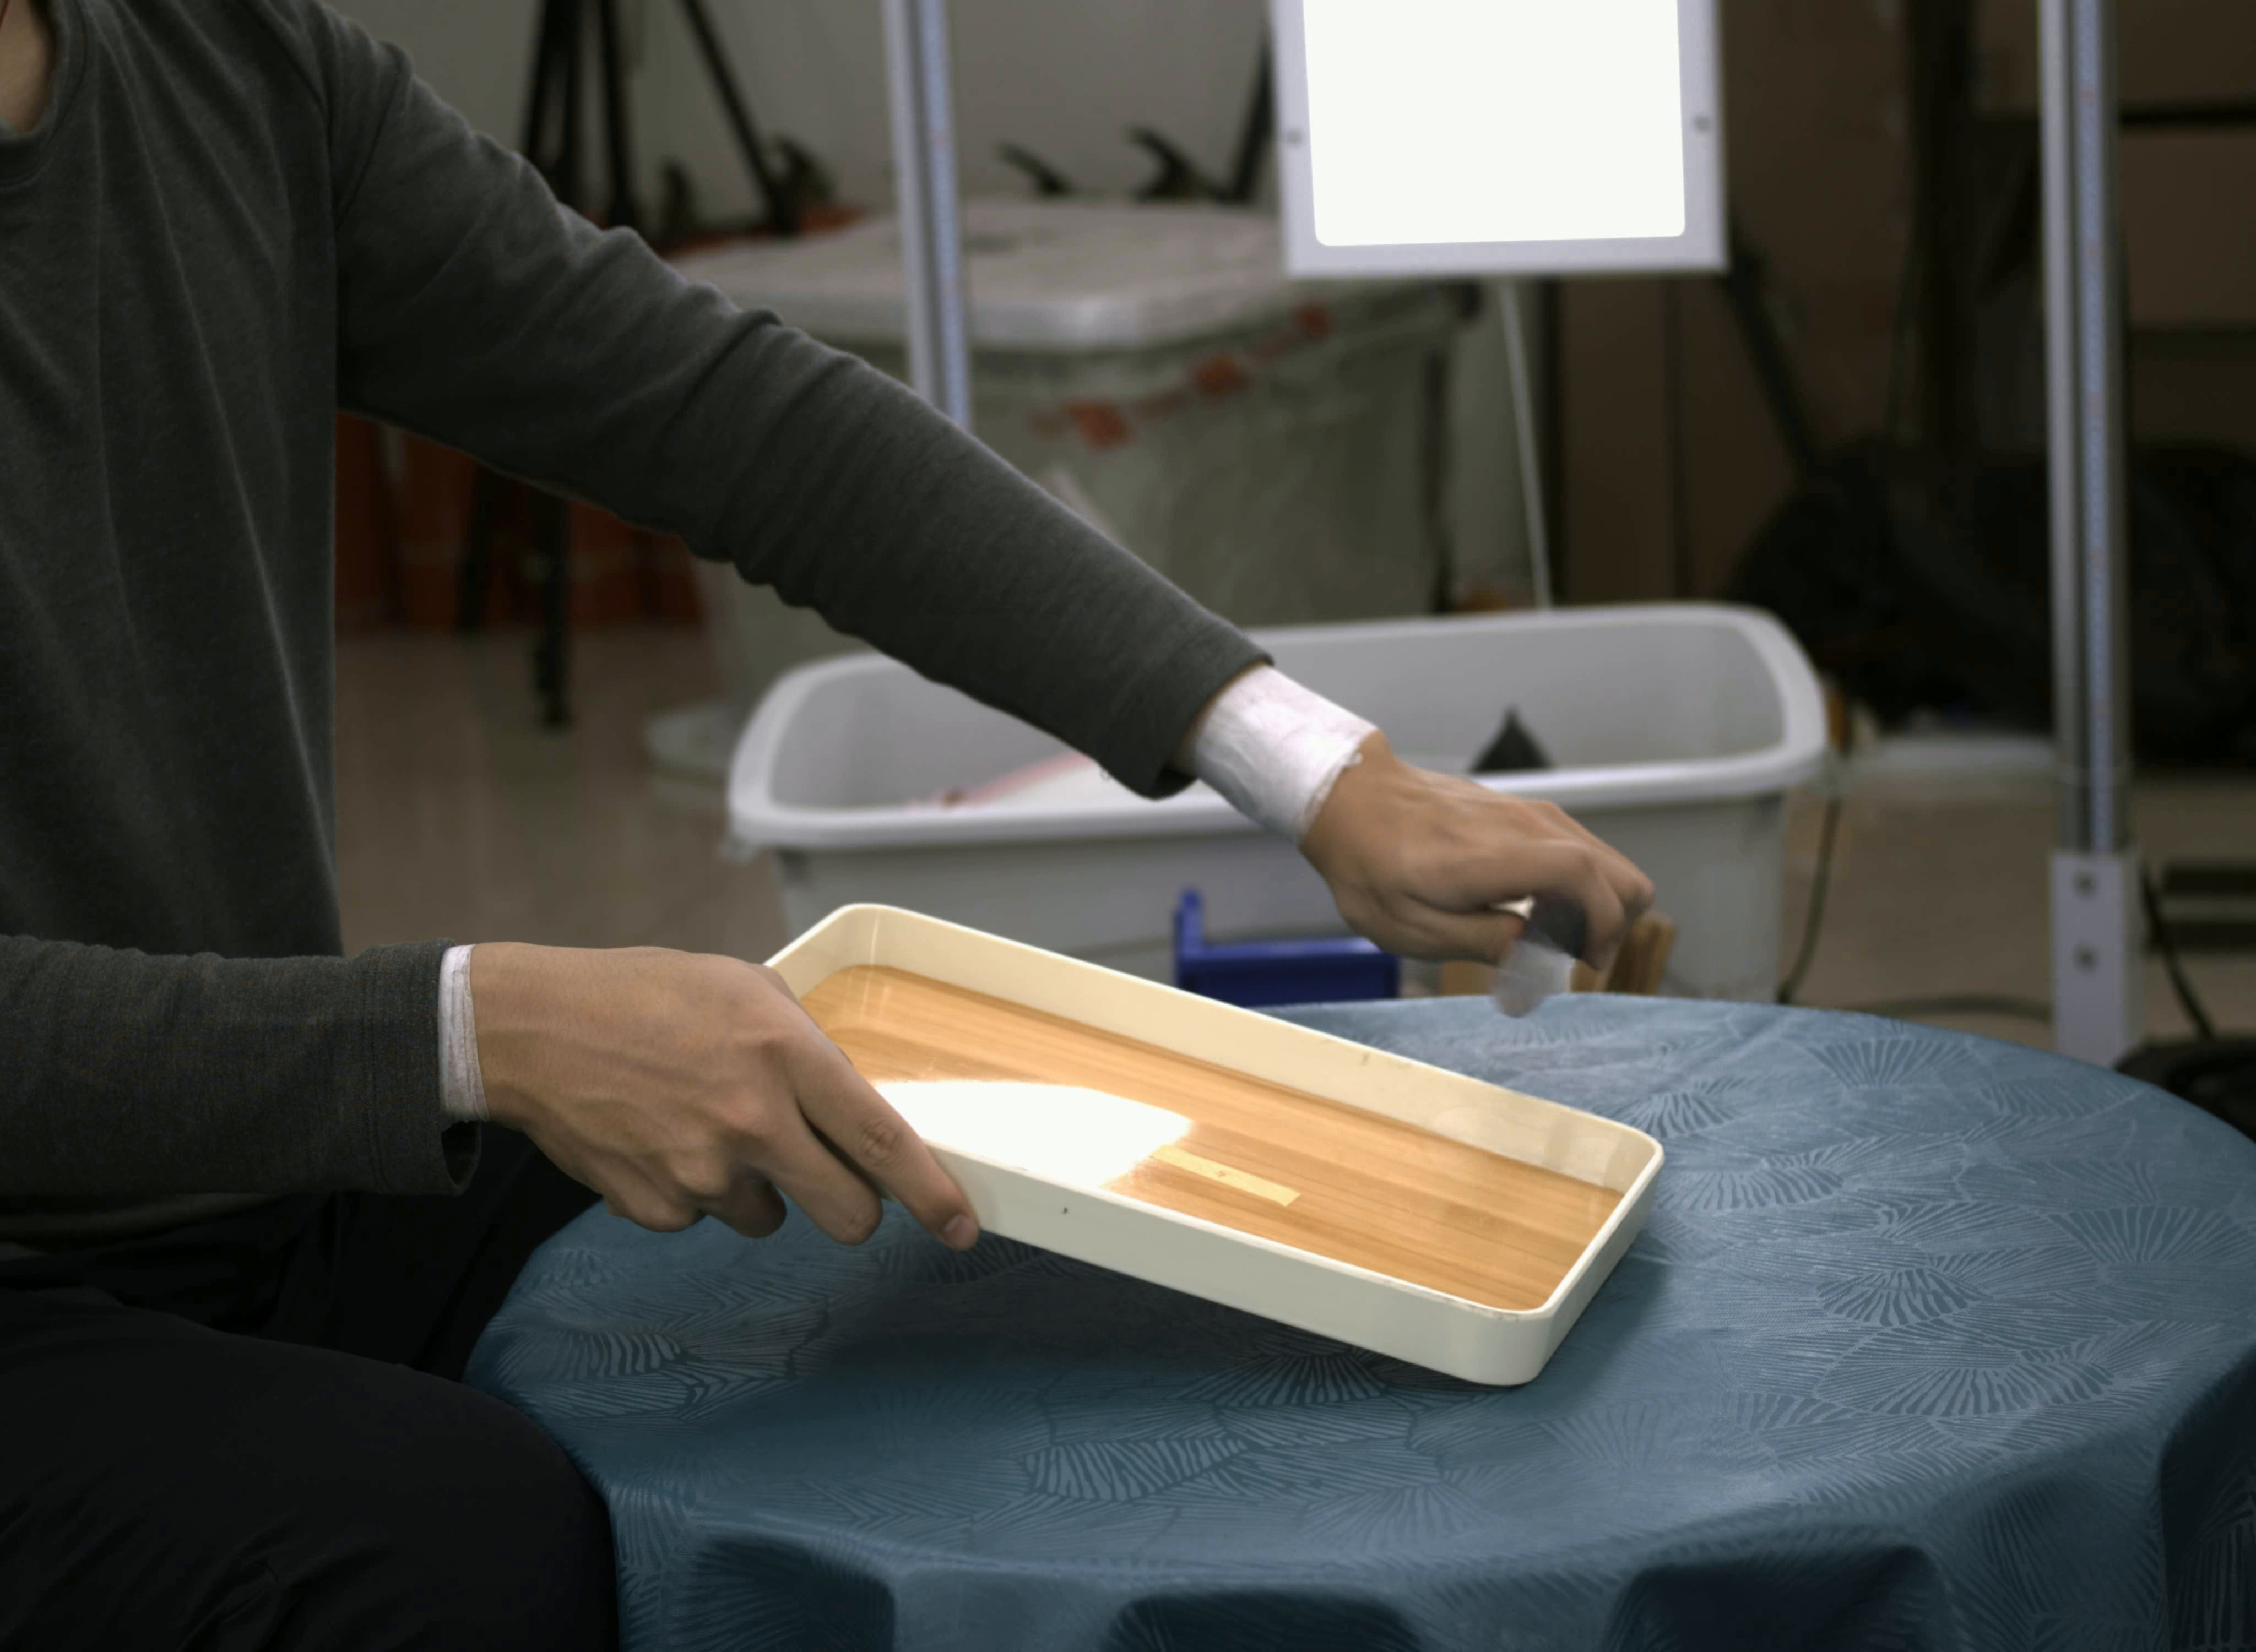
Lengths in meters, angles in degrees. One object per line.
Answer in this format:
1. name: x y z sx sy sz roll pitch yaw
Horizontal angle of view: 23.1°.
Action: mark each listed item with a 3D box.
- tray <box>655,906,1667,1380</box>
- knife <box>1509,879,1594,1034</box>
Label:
1. tray: 0.013 0.099 1.789 0.303 0.027 0.188 16 19 16
2. knife: 0.145 0.045 1.886 0.024 0.016 0.236 14 12 5
